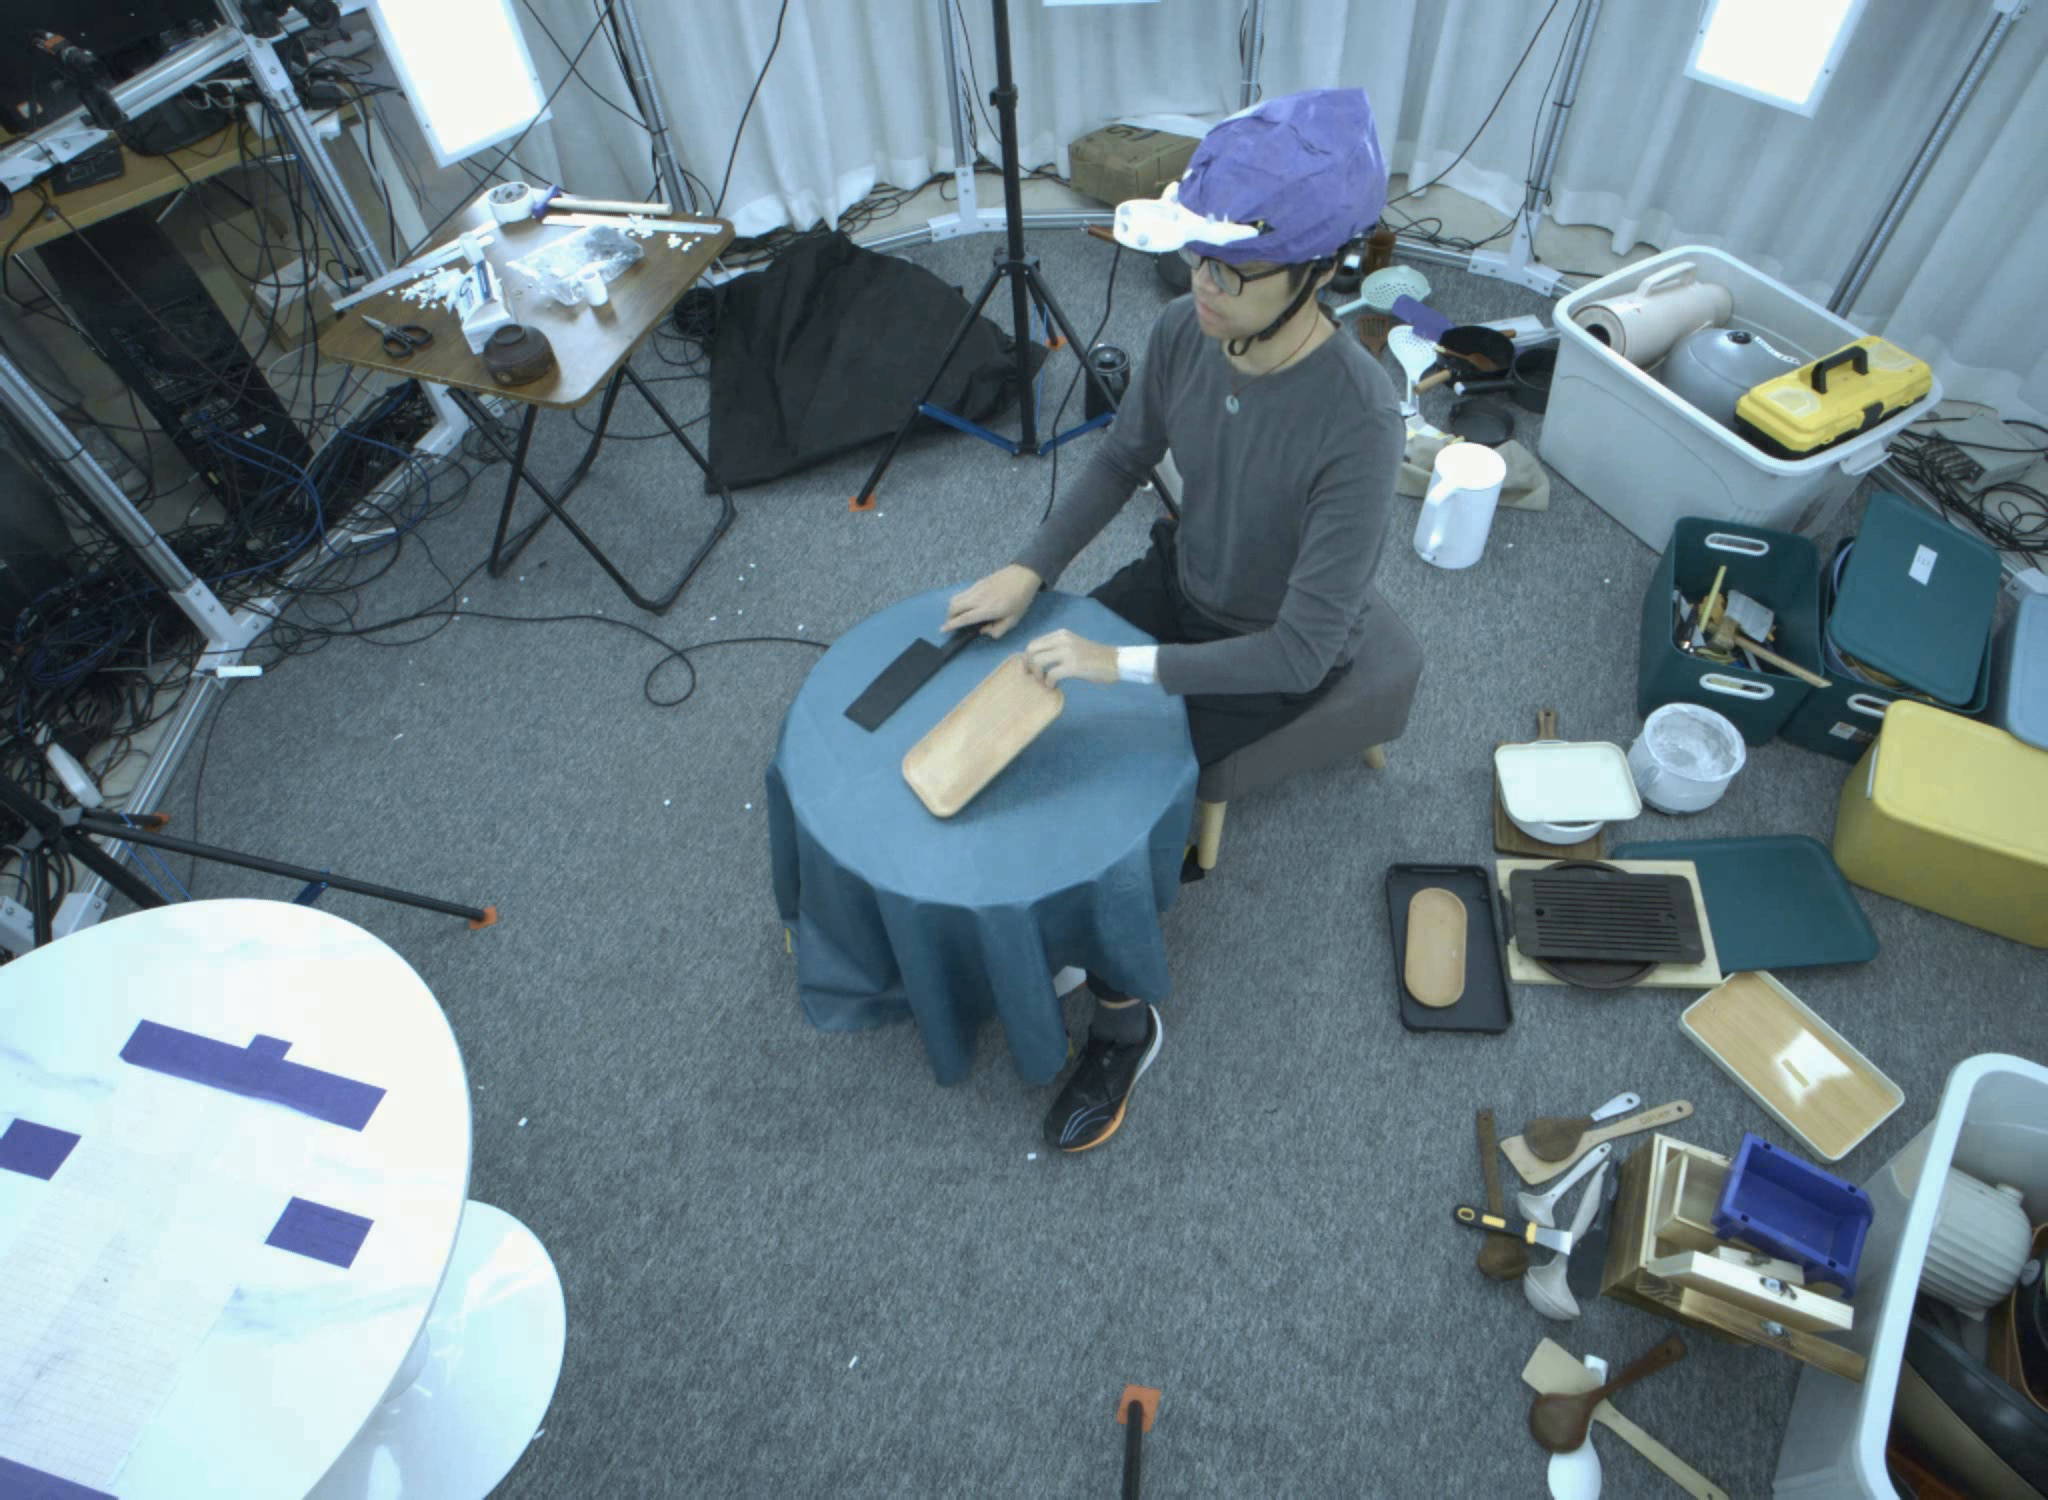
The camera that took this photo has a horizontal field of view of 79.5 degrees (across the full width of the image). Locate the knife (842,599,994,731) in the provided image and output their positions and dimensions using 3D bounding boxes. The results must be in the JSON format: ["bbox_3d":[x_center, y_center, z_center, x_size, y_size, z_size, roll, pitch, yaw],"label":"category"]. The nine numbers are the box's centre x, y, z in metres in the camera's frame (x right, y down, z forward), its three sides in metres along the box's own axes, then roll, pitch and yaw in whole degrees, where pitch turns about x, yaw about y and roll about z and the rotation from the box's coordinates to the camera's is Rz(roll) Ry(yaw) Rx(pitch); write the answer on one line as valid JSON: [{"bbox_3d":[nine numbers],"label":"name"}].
[{"bbox_3d":[-0.157,-0.138,1.889,0.079,0.021,0.304,36,65,26],"label":"knife"}]

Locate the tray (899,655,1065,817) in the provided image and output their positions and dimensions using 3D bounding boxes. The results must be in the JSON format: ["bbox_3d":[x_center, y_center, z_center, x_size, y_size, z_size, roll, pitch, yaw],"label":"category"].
[{"bbox_3d":[-0.060,-0.020,1.745,0.250,0.023,0.128,-42,64,0],"label":"tray"}]
